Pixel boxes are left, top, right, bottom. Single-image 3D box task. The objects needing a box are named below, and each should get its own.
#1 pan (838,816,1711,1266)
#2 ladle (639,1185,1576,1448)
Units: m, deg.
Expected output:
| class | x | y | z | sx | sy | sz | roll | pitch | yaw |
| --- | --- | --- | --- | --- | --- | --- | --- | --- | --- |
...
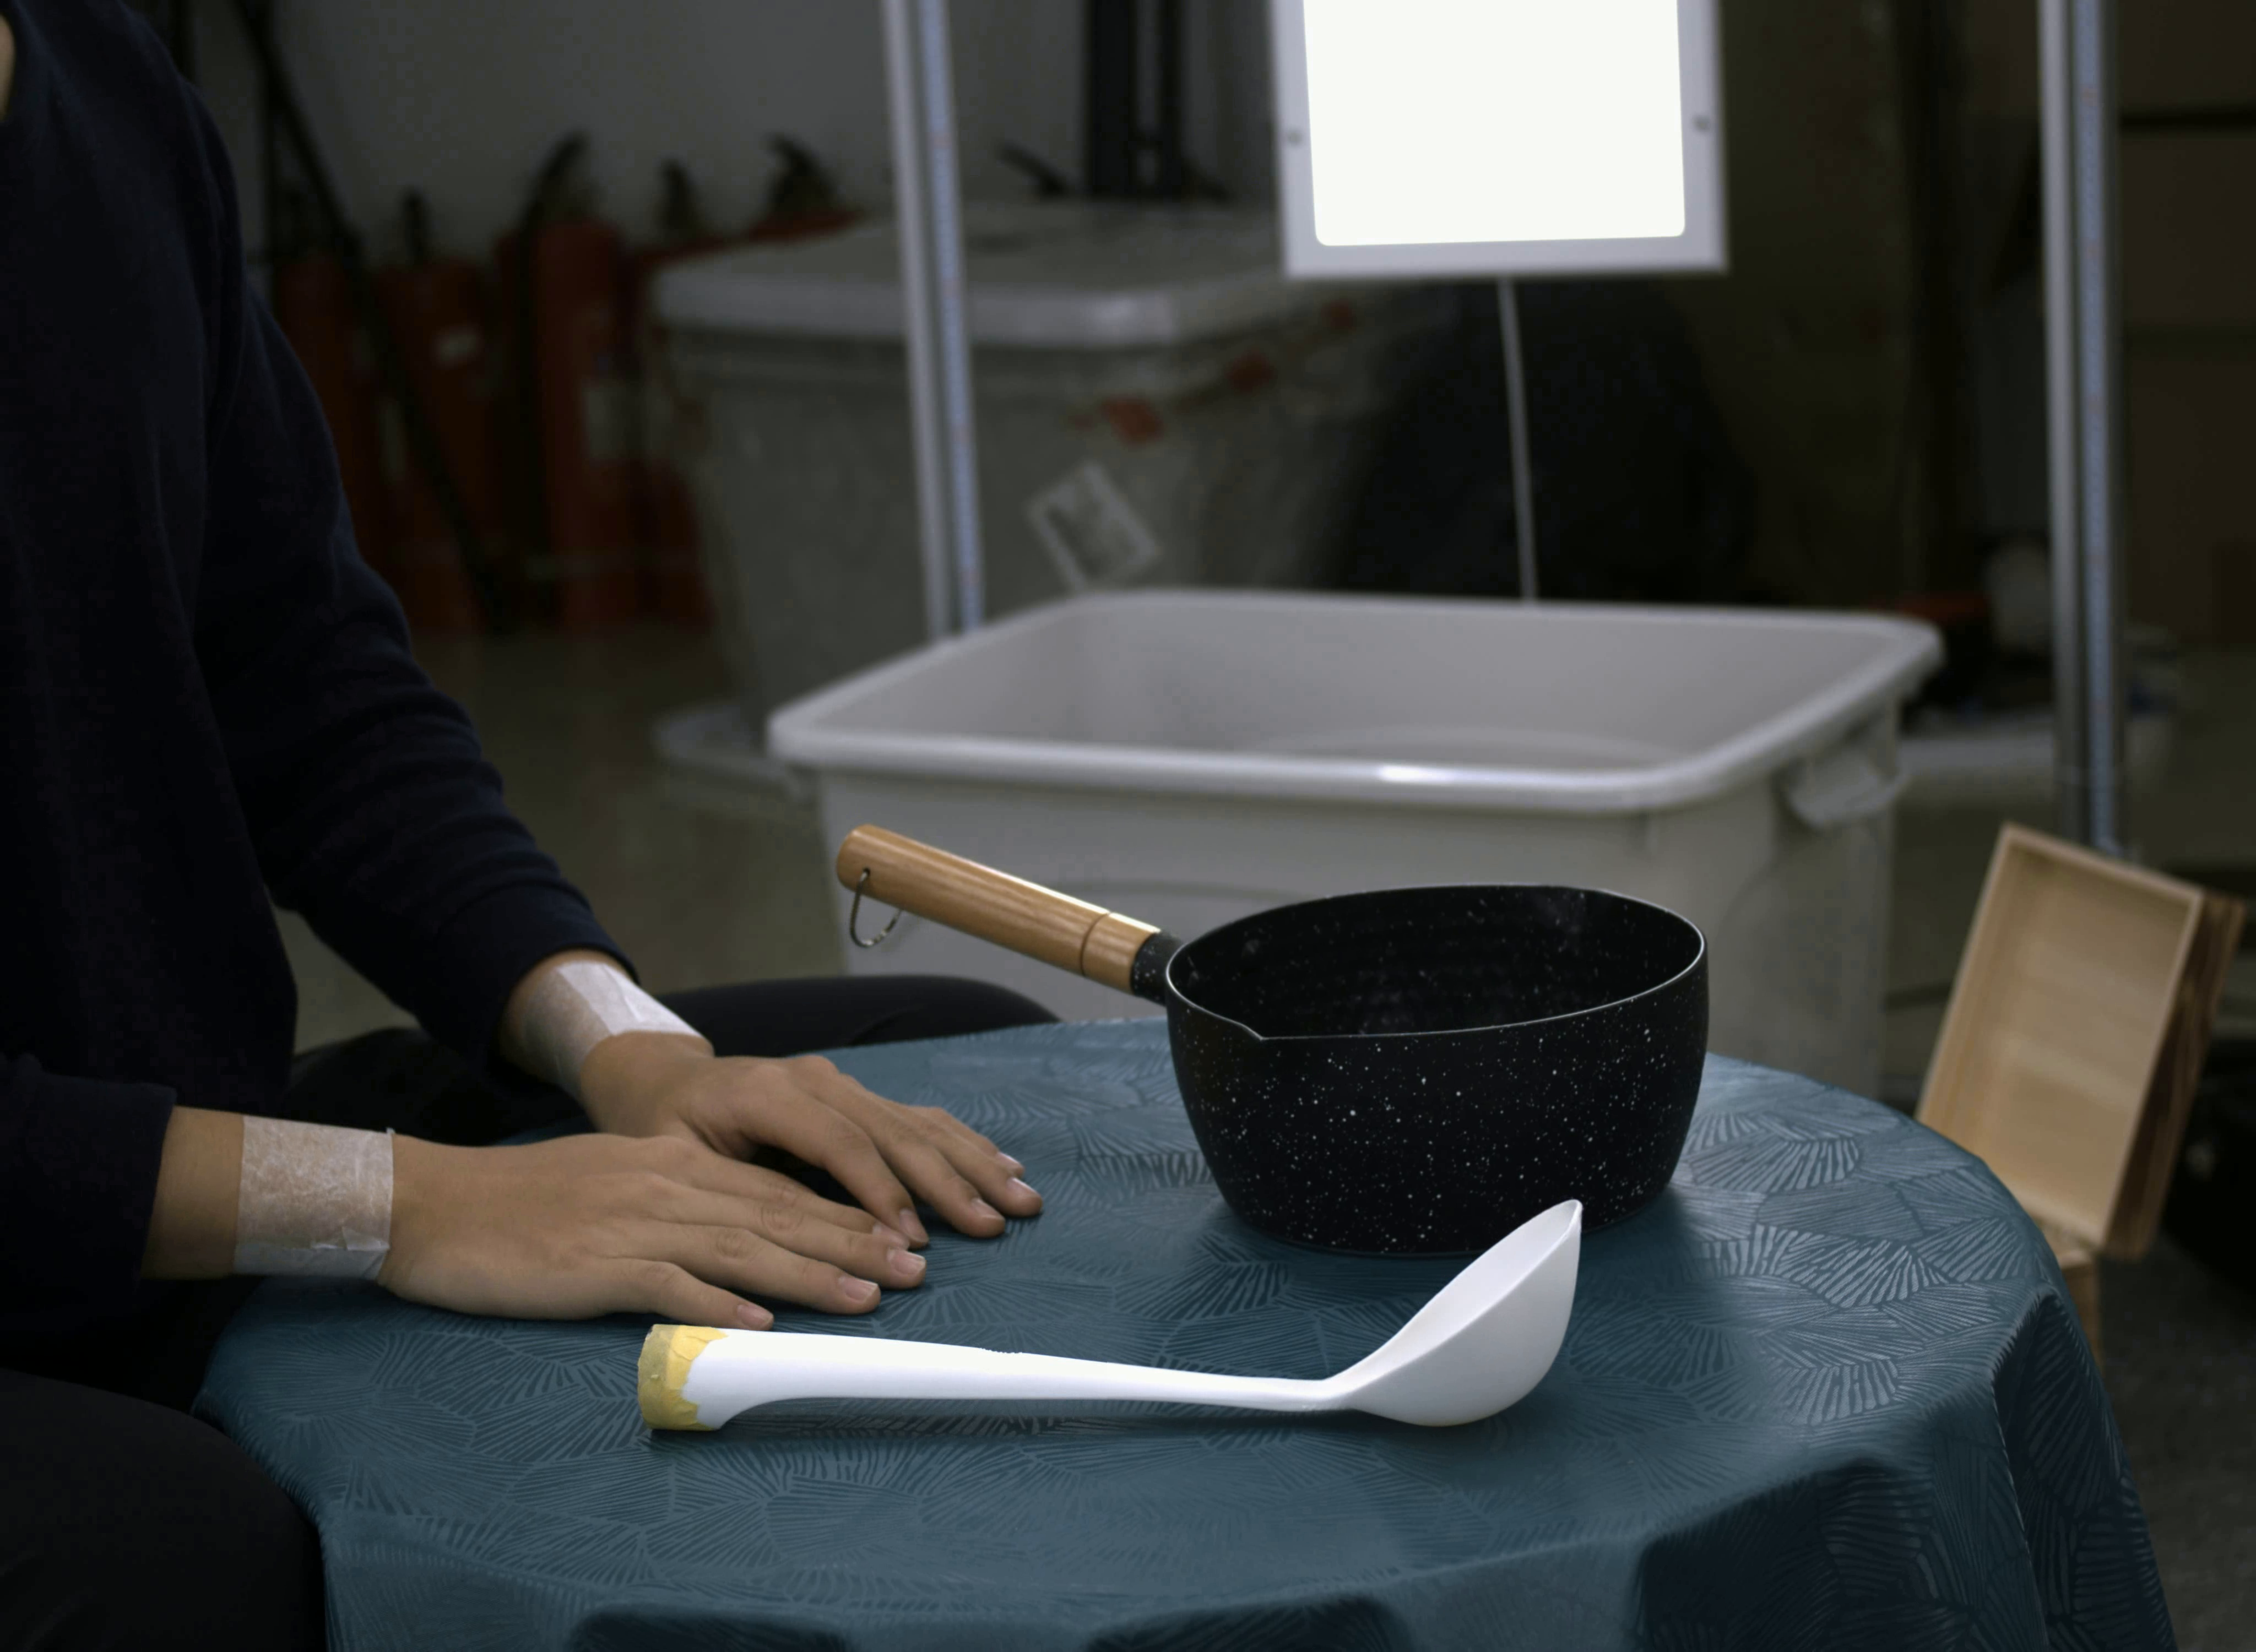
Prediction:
| class | x | y | z | sx | sy | sz | roll | pitch | yaw |
| --- | --- | --- | --- | --- | --- | --- | --- | --- | --- |
| pan | 0.040 | 0.066 | 1.902 | 0.350 | 0.108 | 0.202 | 6 | 19 | 35 |
| ladle | -0.007 | 0.152 | 1.660 | 0.295 | 0.070 | 0.089 | -2 | 20 | 14 |
